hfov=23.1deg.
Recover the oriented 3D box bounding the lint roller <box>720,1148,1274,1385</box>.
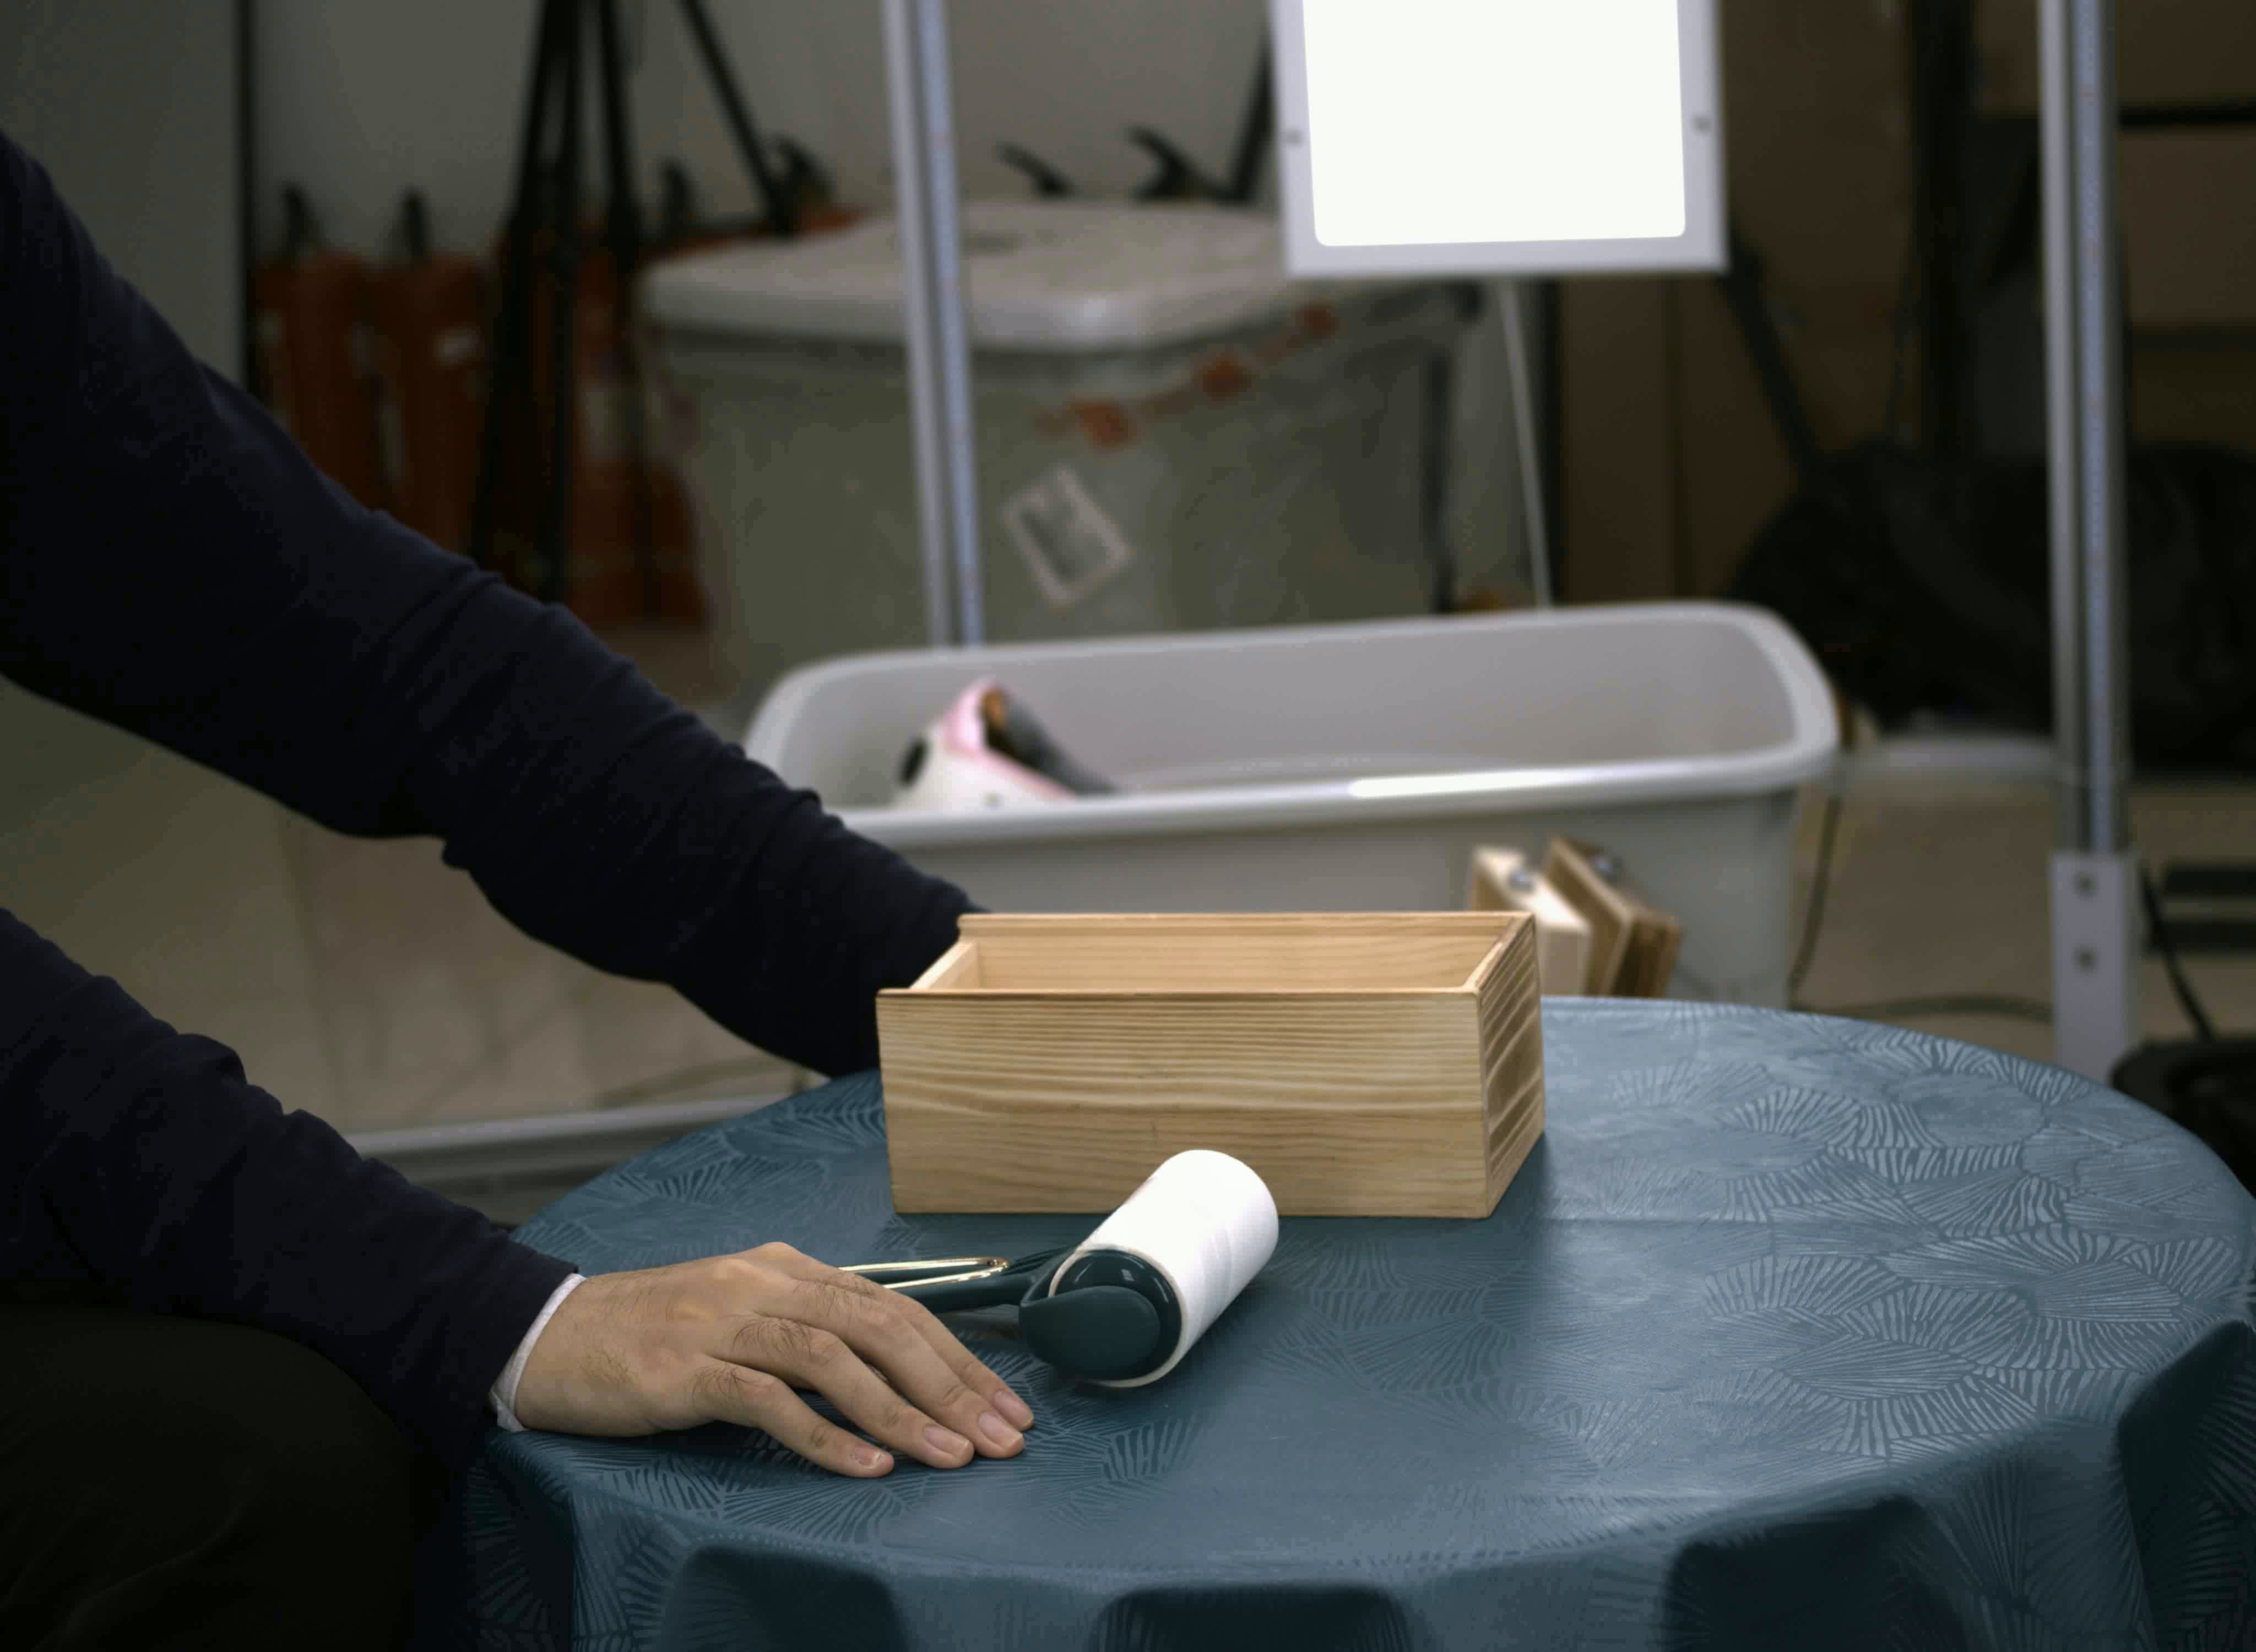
[{"bbox_3d":[-0.051,0.144,1.771,0.182,0.048,0.132,-5,13,21],"label":"lint roller"}]

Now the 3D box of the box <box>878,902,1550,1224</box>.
[{"bbox_3d":[0.032,0.082,1.908,0.214,0.080,0.106,-2,15,17],"label":"box"}]
